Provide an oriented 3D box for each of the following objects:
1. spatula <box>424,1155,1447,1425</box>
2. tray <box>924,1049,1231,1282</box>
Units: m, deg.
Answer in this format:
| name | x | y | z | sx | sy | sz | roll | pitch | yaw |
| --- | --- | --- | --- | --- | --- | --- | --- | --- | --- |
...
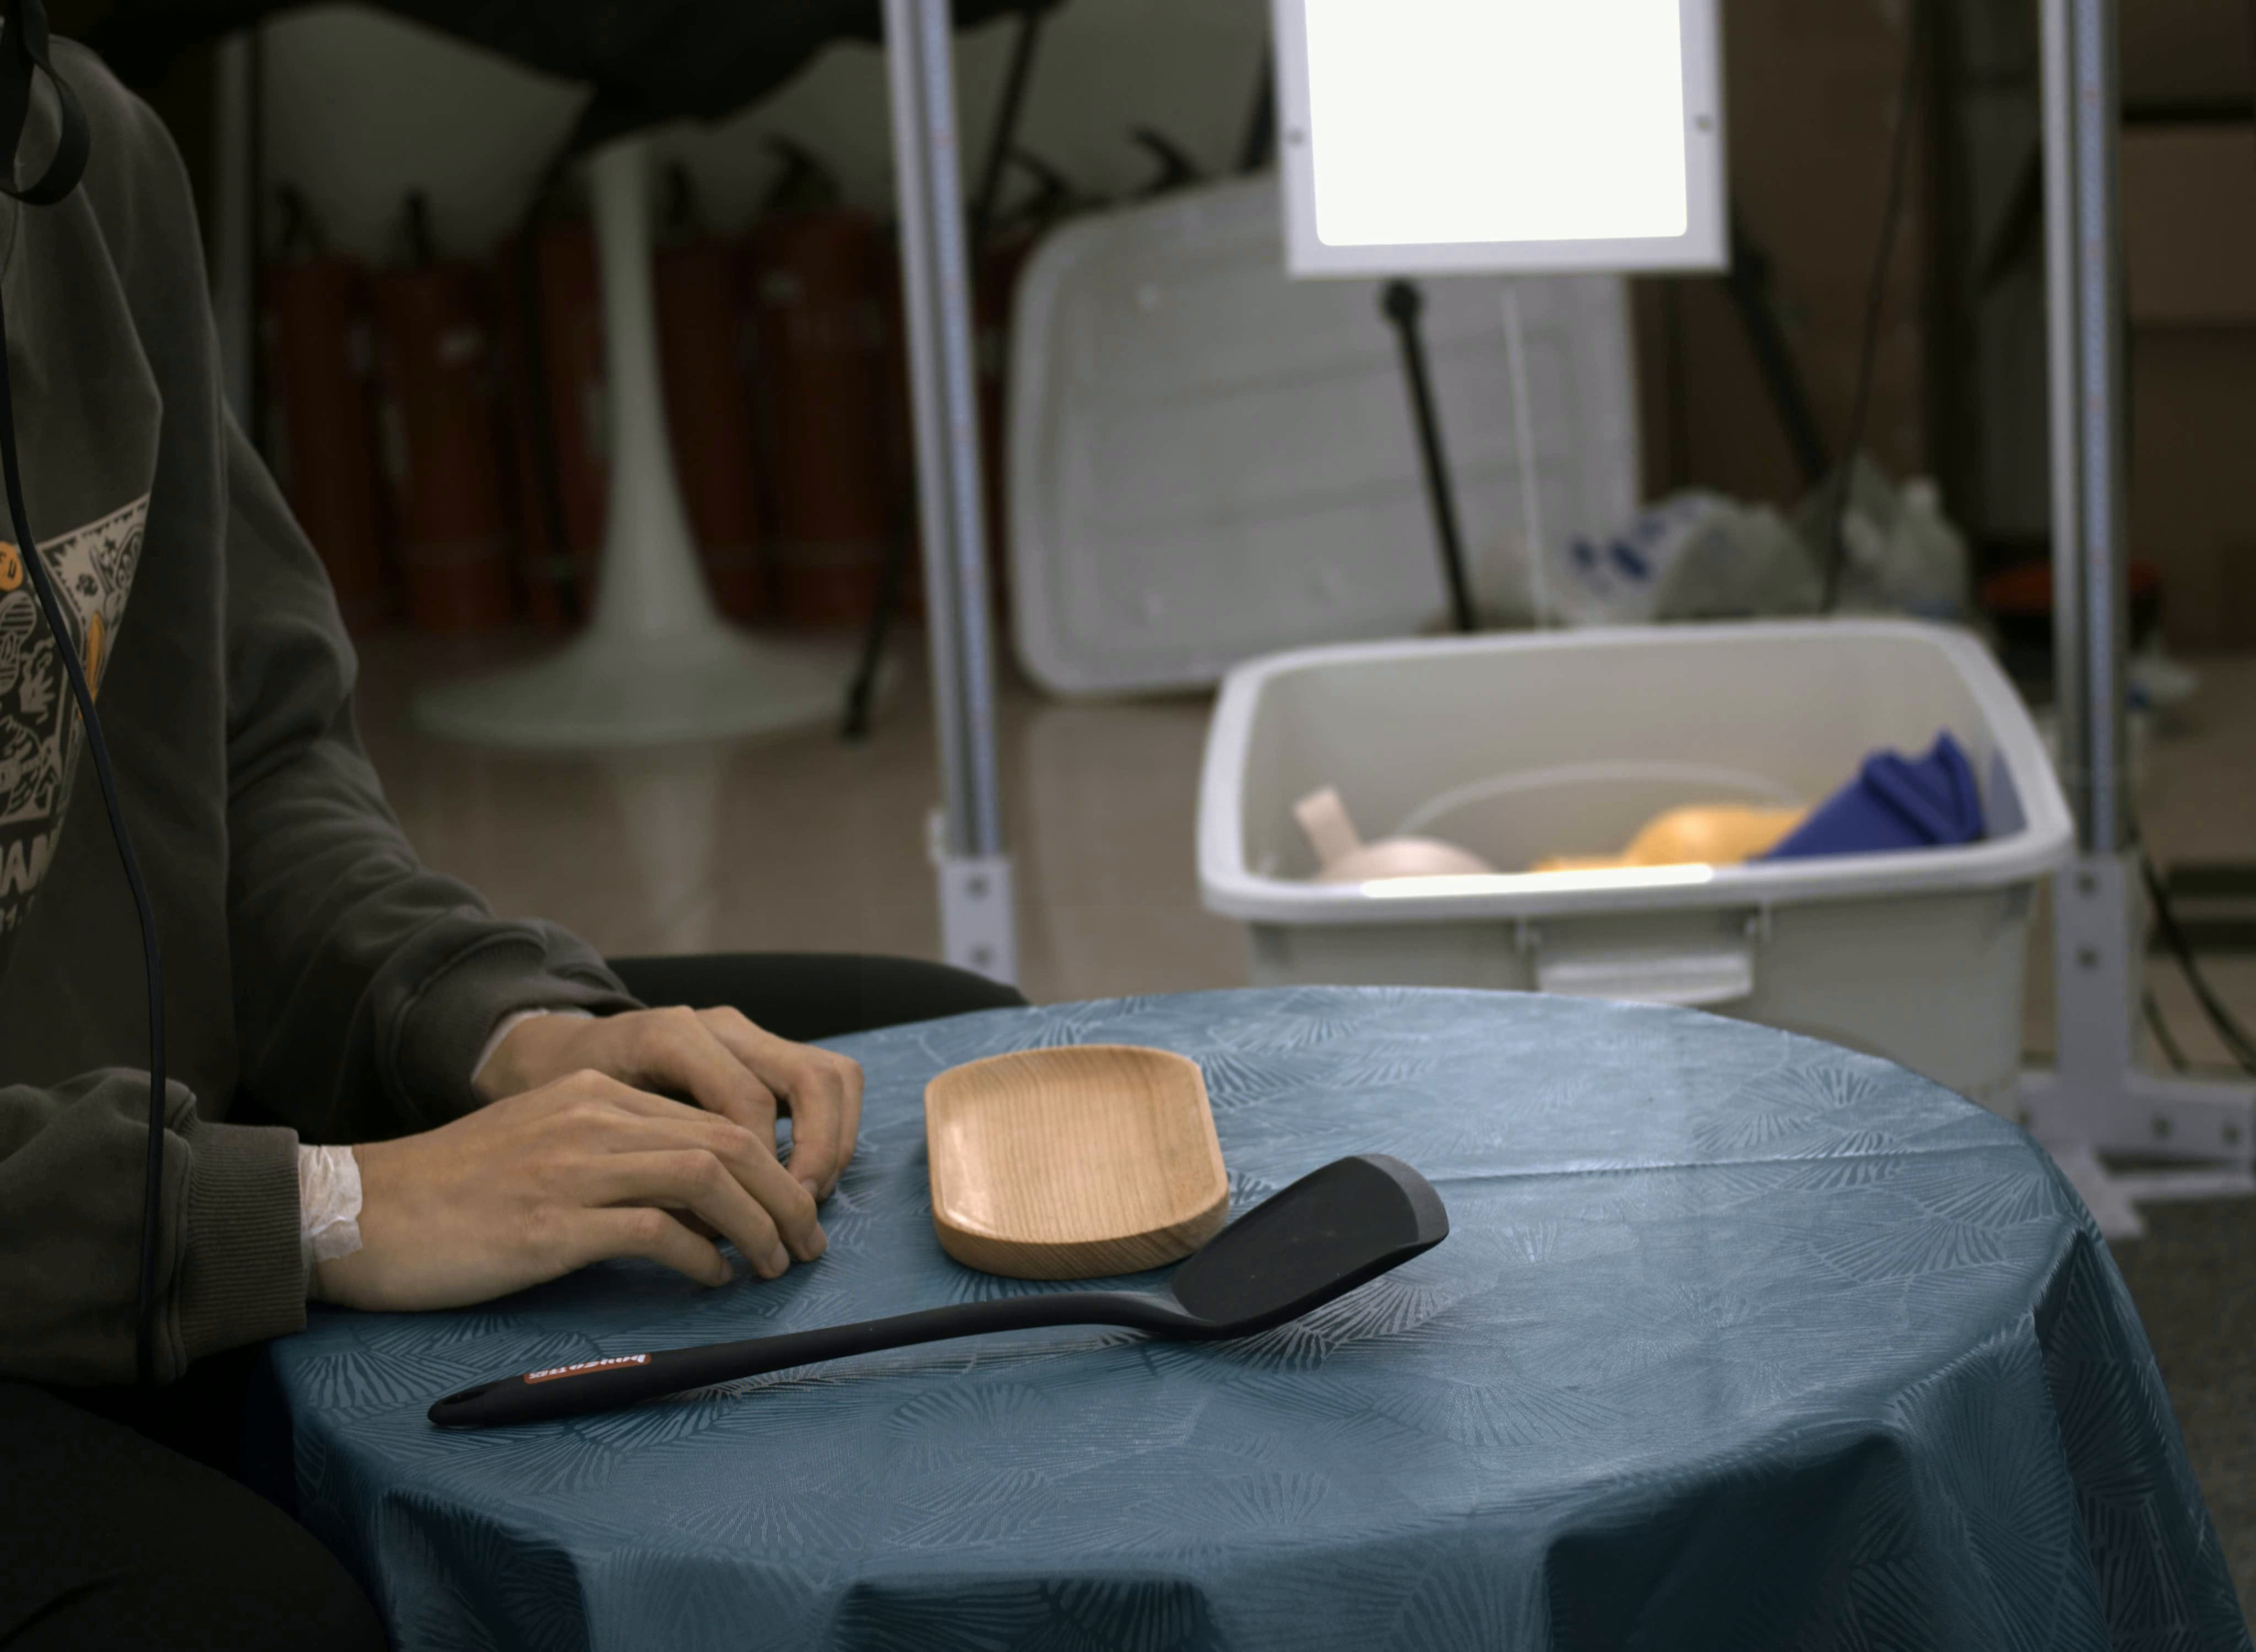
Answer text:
| name | x | y | z | sx | sy | sz | roll | pitch | yaw |
| --- | --- | --- | --- | --- | --- | --- | --- | --- | --- |
| spatula | -0.061 | 0.152 | 1.739 | 0.323 | 0.040 | 0.100 | -7 | 13 | -6 |
| tray | -0.019 | 0.116 | 1.914 | 0.101 | 0.020 | 0.231 | -6 | 15 | -1 |
